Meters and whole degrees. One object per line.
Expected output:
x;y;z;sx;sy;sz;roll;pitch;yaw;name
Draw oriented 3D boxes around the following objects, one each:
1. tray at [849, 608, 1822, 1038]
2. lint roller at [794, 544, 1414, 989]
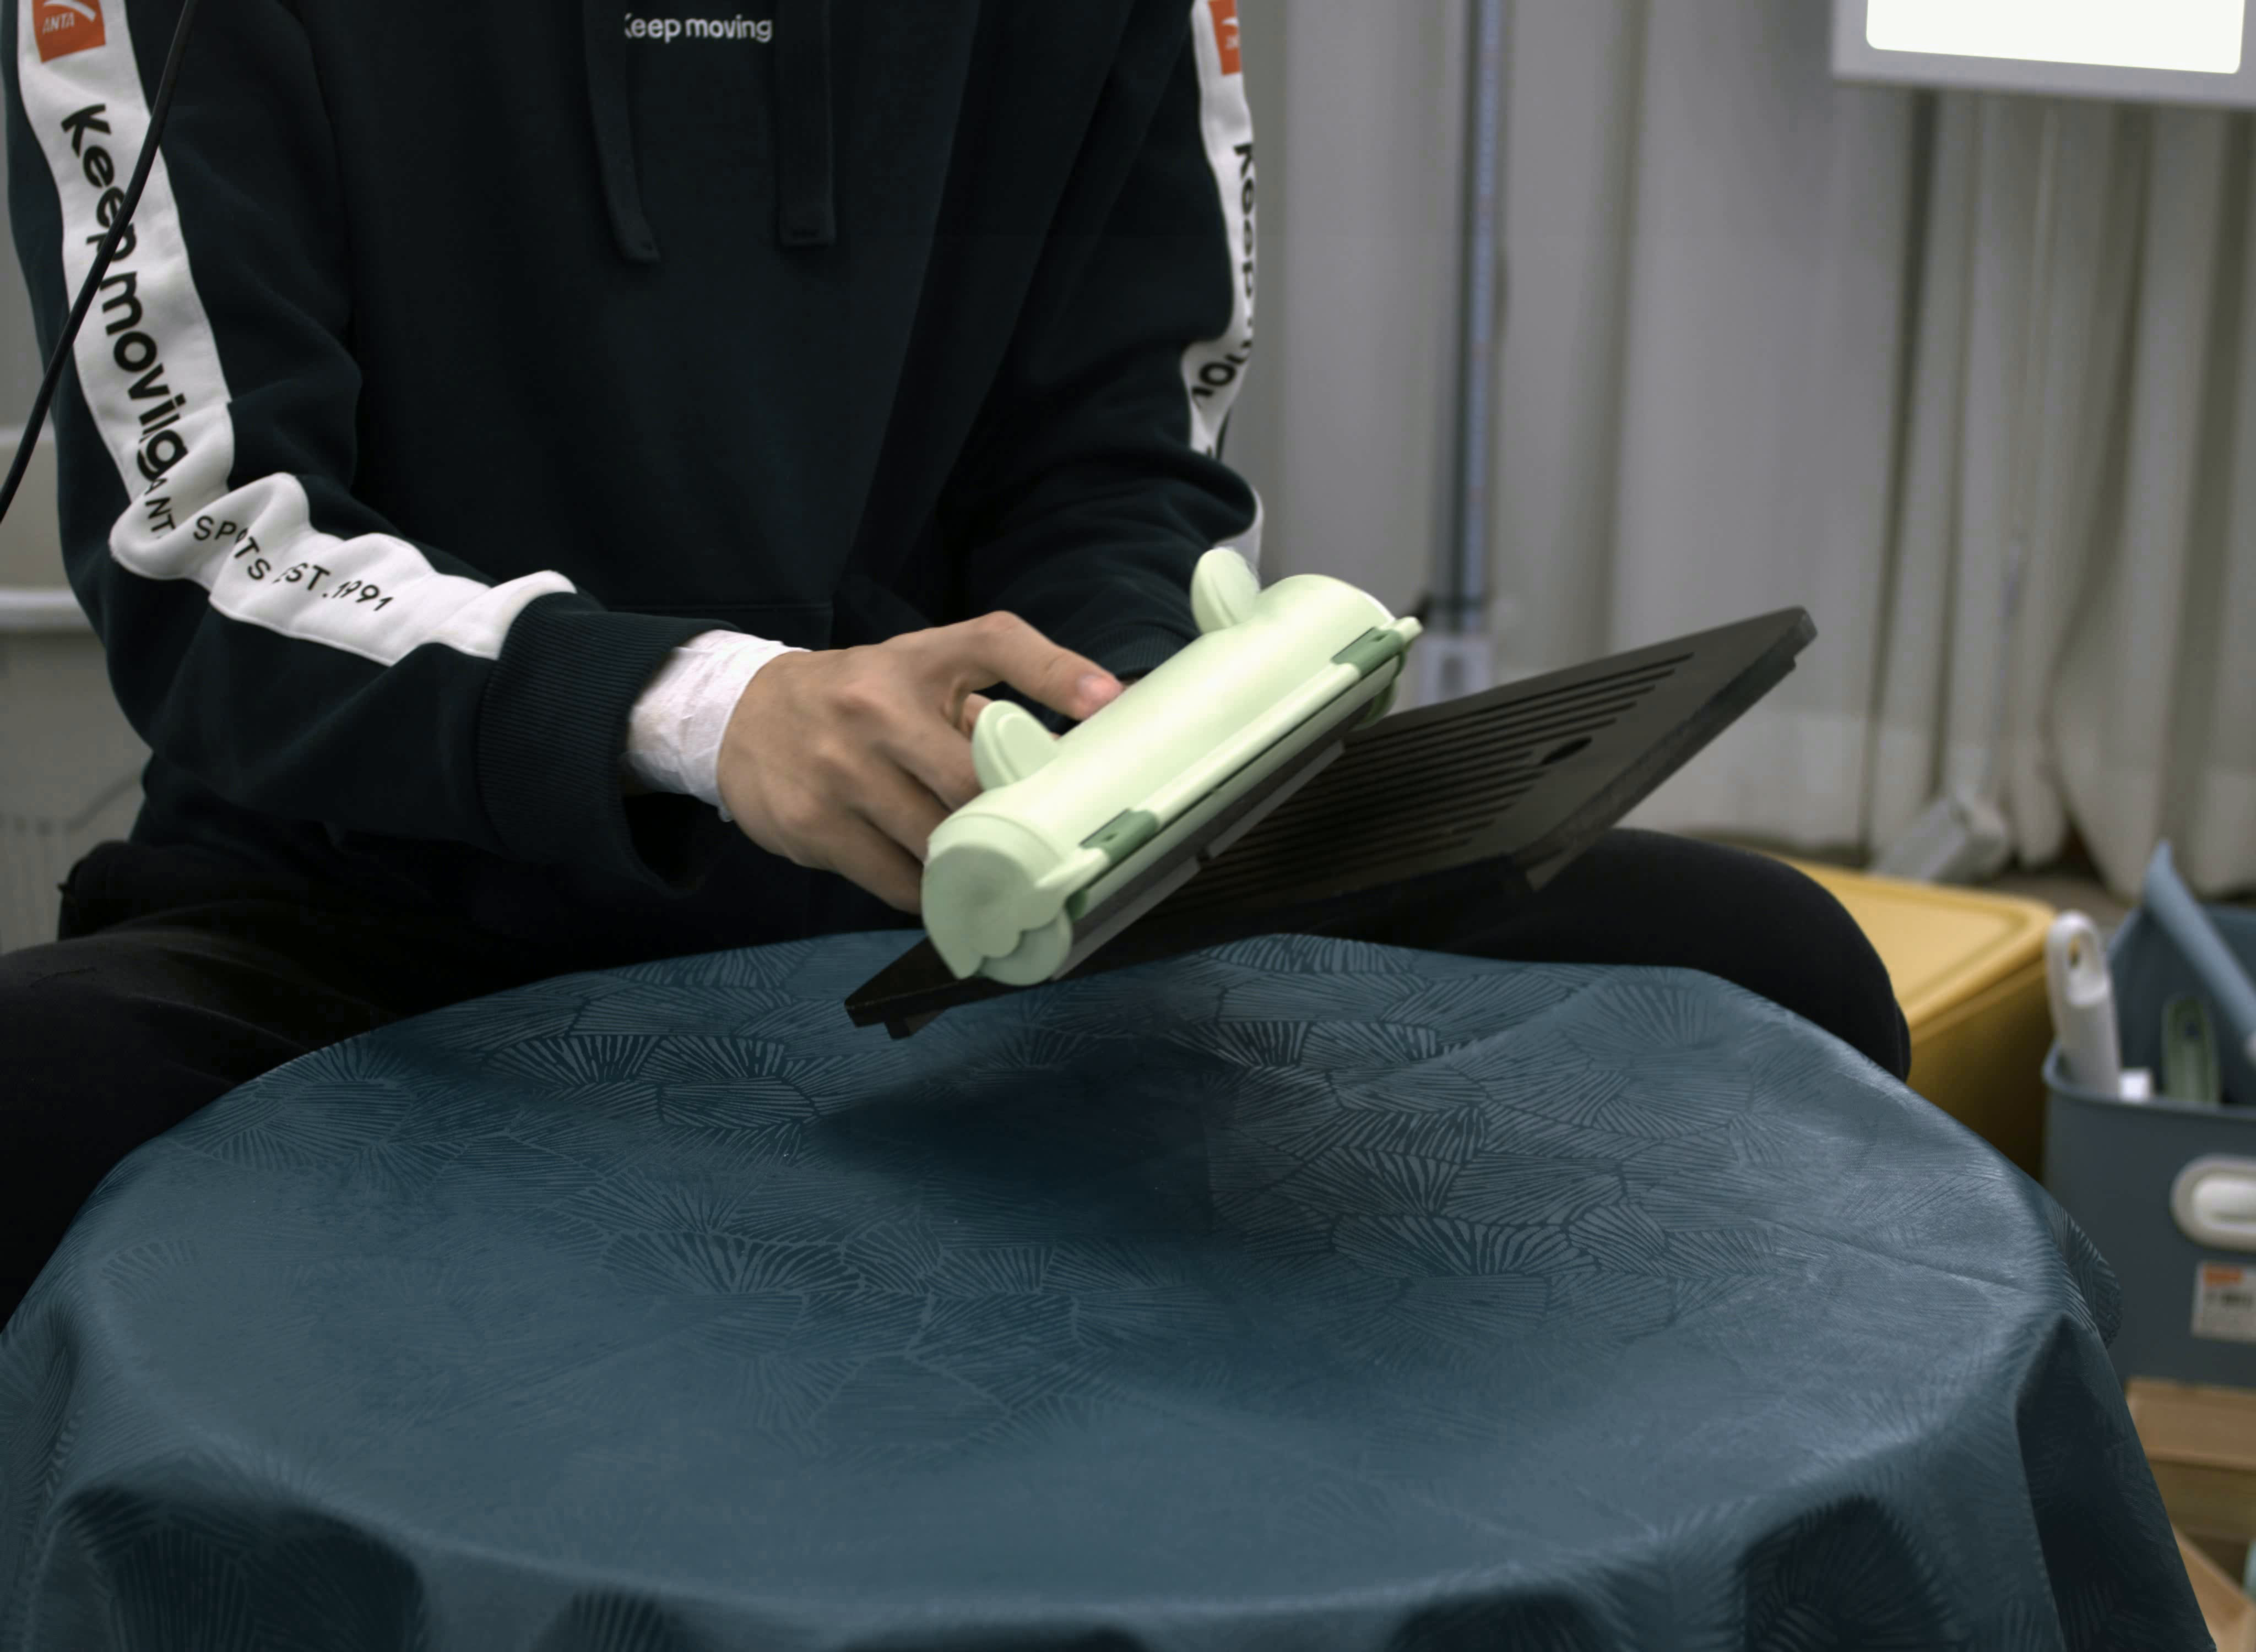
0.062;0.003;1.639;0.303;0.019;0.170;-15;16;44;tray
-0.036;-0.024;1.582;0.181;0.083;0.199;3;27;36;lint roller
